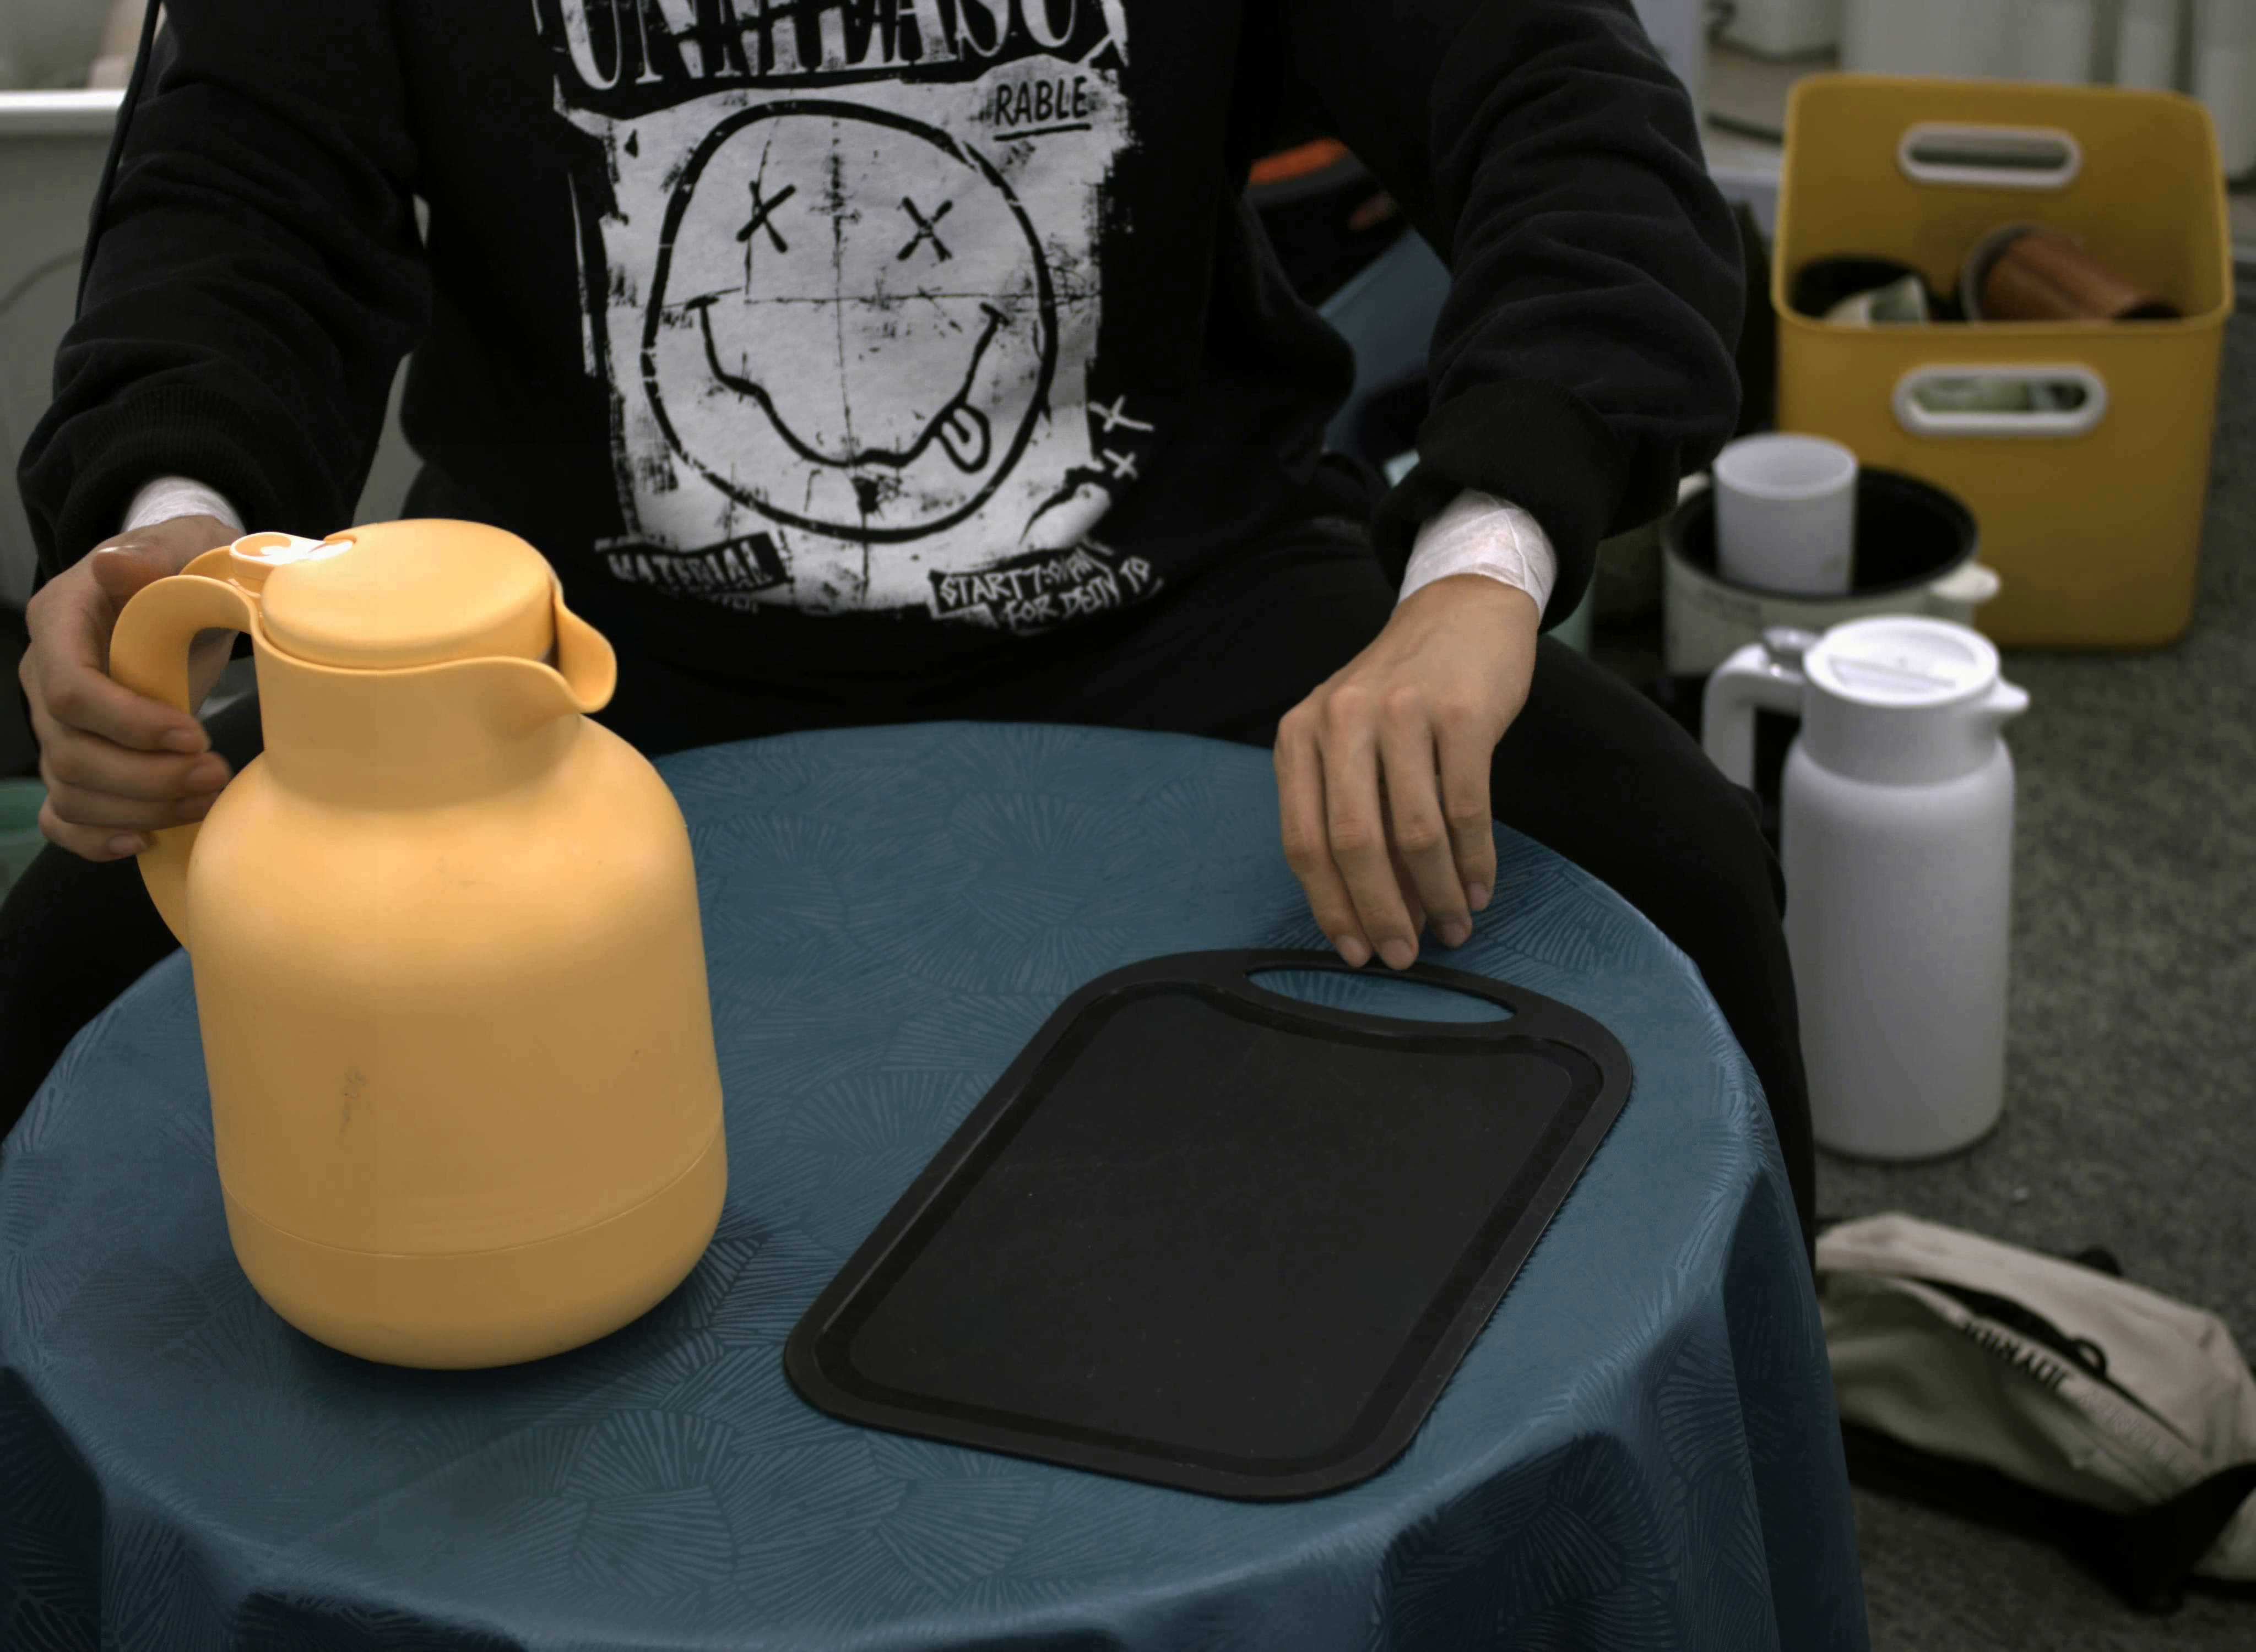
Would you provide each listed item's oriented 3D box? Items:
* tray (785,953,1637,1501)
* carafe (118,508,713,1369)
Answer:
[{"bbox_3d":[0.035,0.120,1.851,0.210,0.009,0.331,9,29,21],"label":"tray"},{"bbox_3d":[-0.232,0.026,1.785,0.201,0.258,0.166,16,30,31],"label":"carafe"}]
